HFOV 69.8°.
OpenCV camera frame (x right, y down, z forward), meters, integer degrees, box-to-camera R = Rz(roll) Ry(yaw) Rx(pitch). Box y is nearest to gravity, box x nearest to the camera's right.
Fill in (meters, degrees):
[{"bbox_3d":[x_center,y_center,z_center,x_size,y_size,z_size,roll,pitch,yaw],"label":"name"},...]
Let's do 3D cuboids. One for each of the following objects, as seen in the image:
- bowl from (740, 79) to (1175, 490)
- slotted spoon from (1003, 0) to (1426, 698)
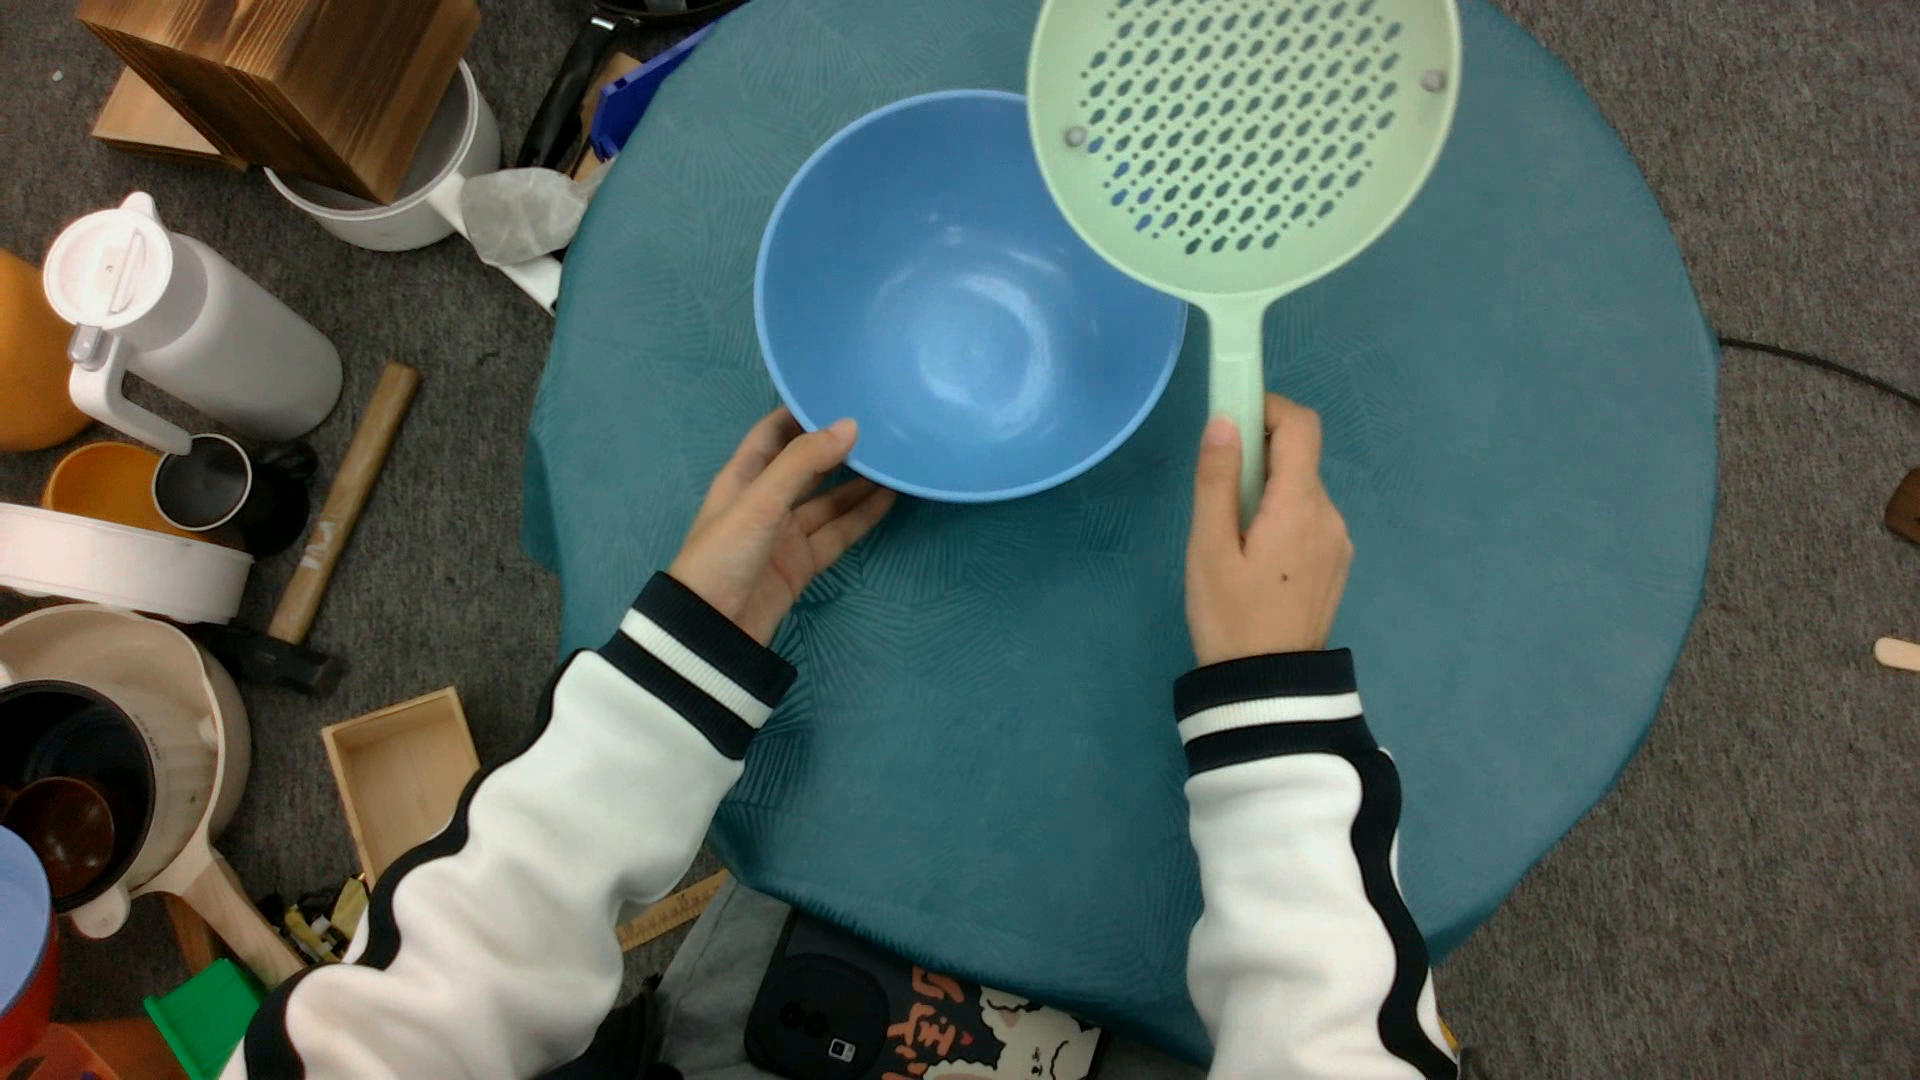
[{"bbox_3d":[-0.001,-0.110,0.665,0.196,0.095,0.197,0,78,-1],"label":"bowl"},{"bbox_3d":[0.111,-0.099,0.594,0.169,0.075,0.358,-1,97,14],"label":"slotted spoon"}]
